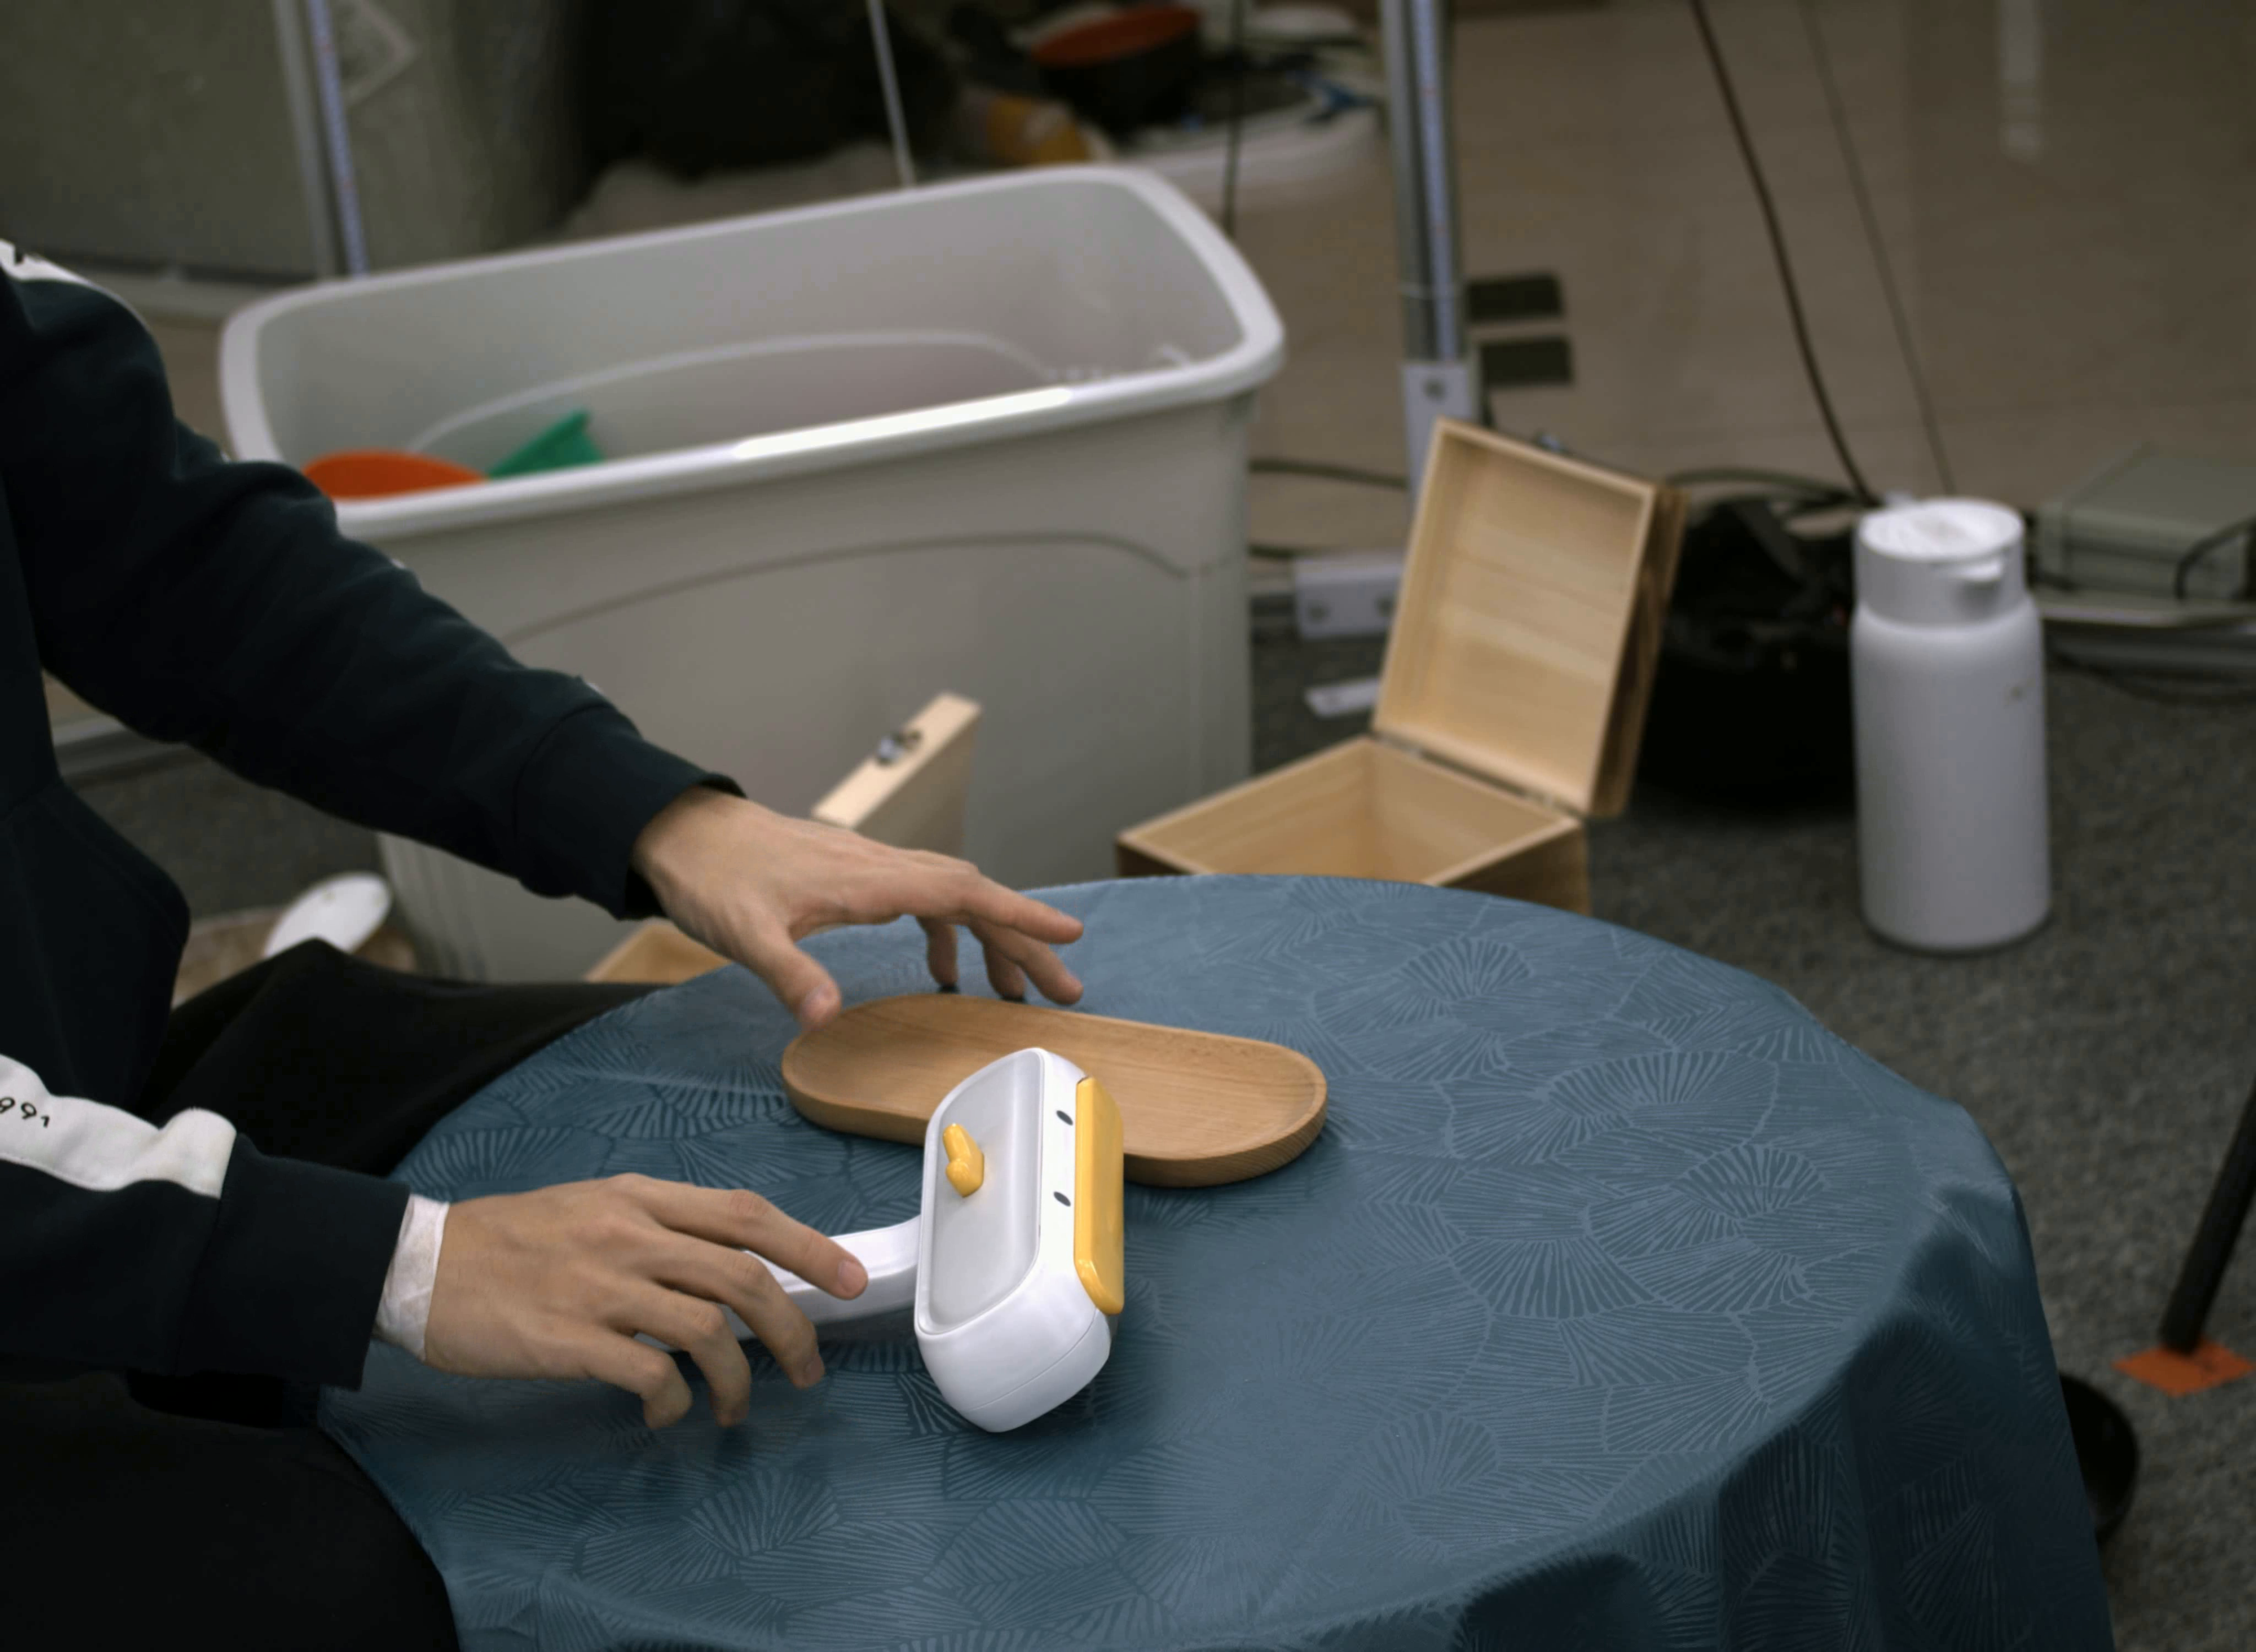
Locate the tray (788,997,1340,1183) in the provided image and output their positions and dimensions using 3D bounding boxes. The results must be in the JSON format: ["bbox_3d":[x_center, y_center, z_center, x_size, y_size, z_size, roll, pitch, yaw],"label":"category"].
[{"bbox_3d":[-0.026,0.103,2.209,0.230,0.020,0.100,8,29,26],"label":"tray"}]

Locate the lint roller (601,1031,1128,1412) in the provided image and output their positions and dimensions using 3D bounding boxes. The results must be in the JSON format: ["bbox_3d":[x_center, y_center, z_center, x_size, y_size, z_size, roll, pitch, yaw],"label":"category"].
[{"bbox_3d":[-0.096,0.160,2.064,0.192,0.075,0.189,-24,30,9],"label":"lint roller"}]
